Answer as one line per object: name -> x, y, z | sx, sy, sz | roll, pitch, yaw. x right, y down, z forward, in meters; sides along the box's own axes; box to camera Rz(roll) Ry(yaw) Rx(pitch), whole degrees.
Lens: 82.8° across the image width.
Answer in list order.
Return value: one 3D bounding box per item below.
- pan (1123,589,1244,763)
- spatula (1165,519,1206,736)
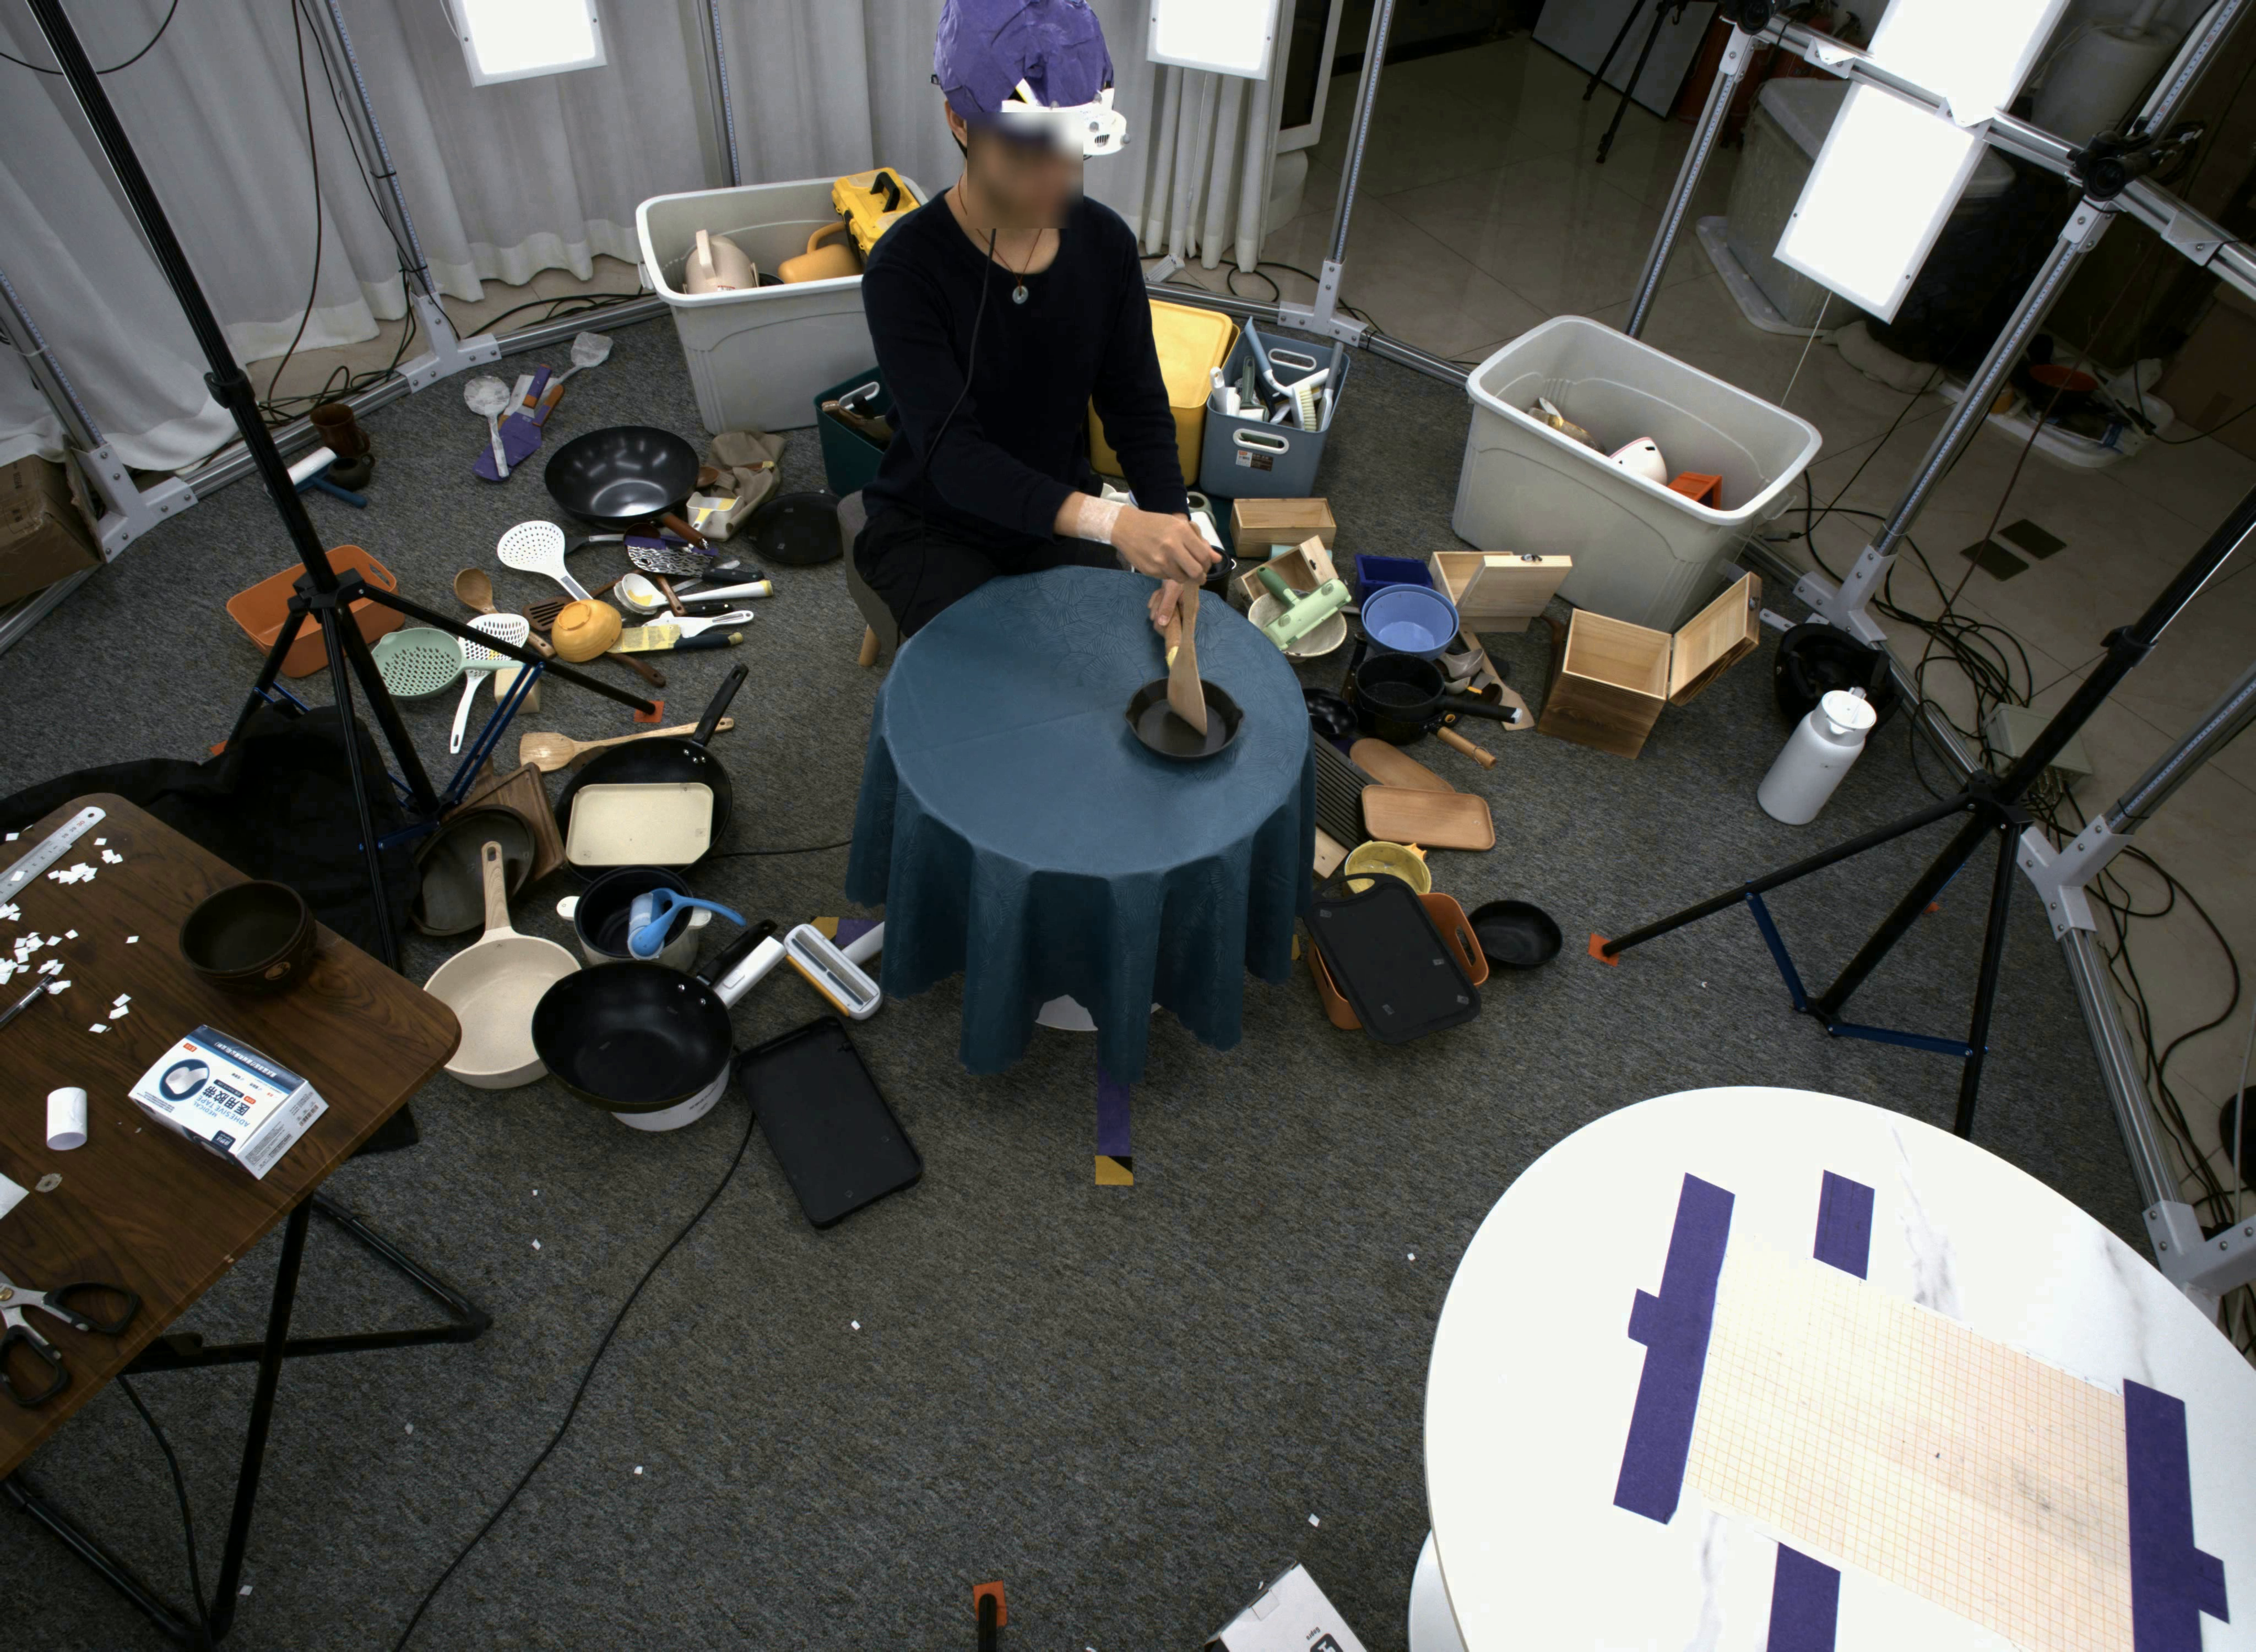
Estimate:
pan -> 0.073, -0.215, 1.828 | 0.169, 0.048, 0.332 | 0, 50, -4
spatula -> 0.079, -0.258, 1.691 | 0.016, 0.319, 0.081 | -30, 50, -30
